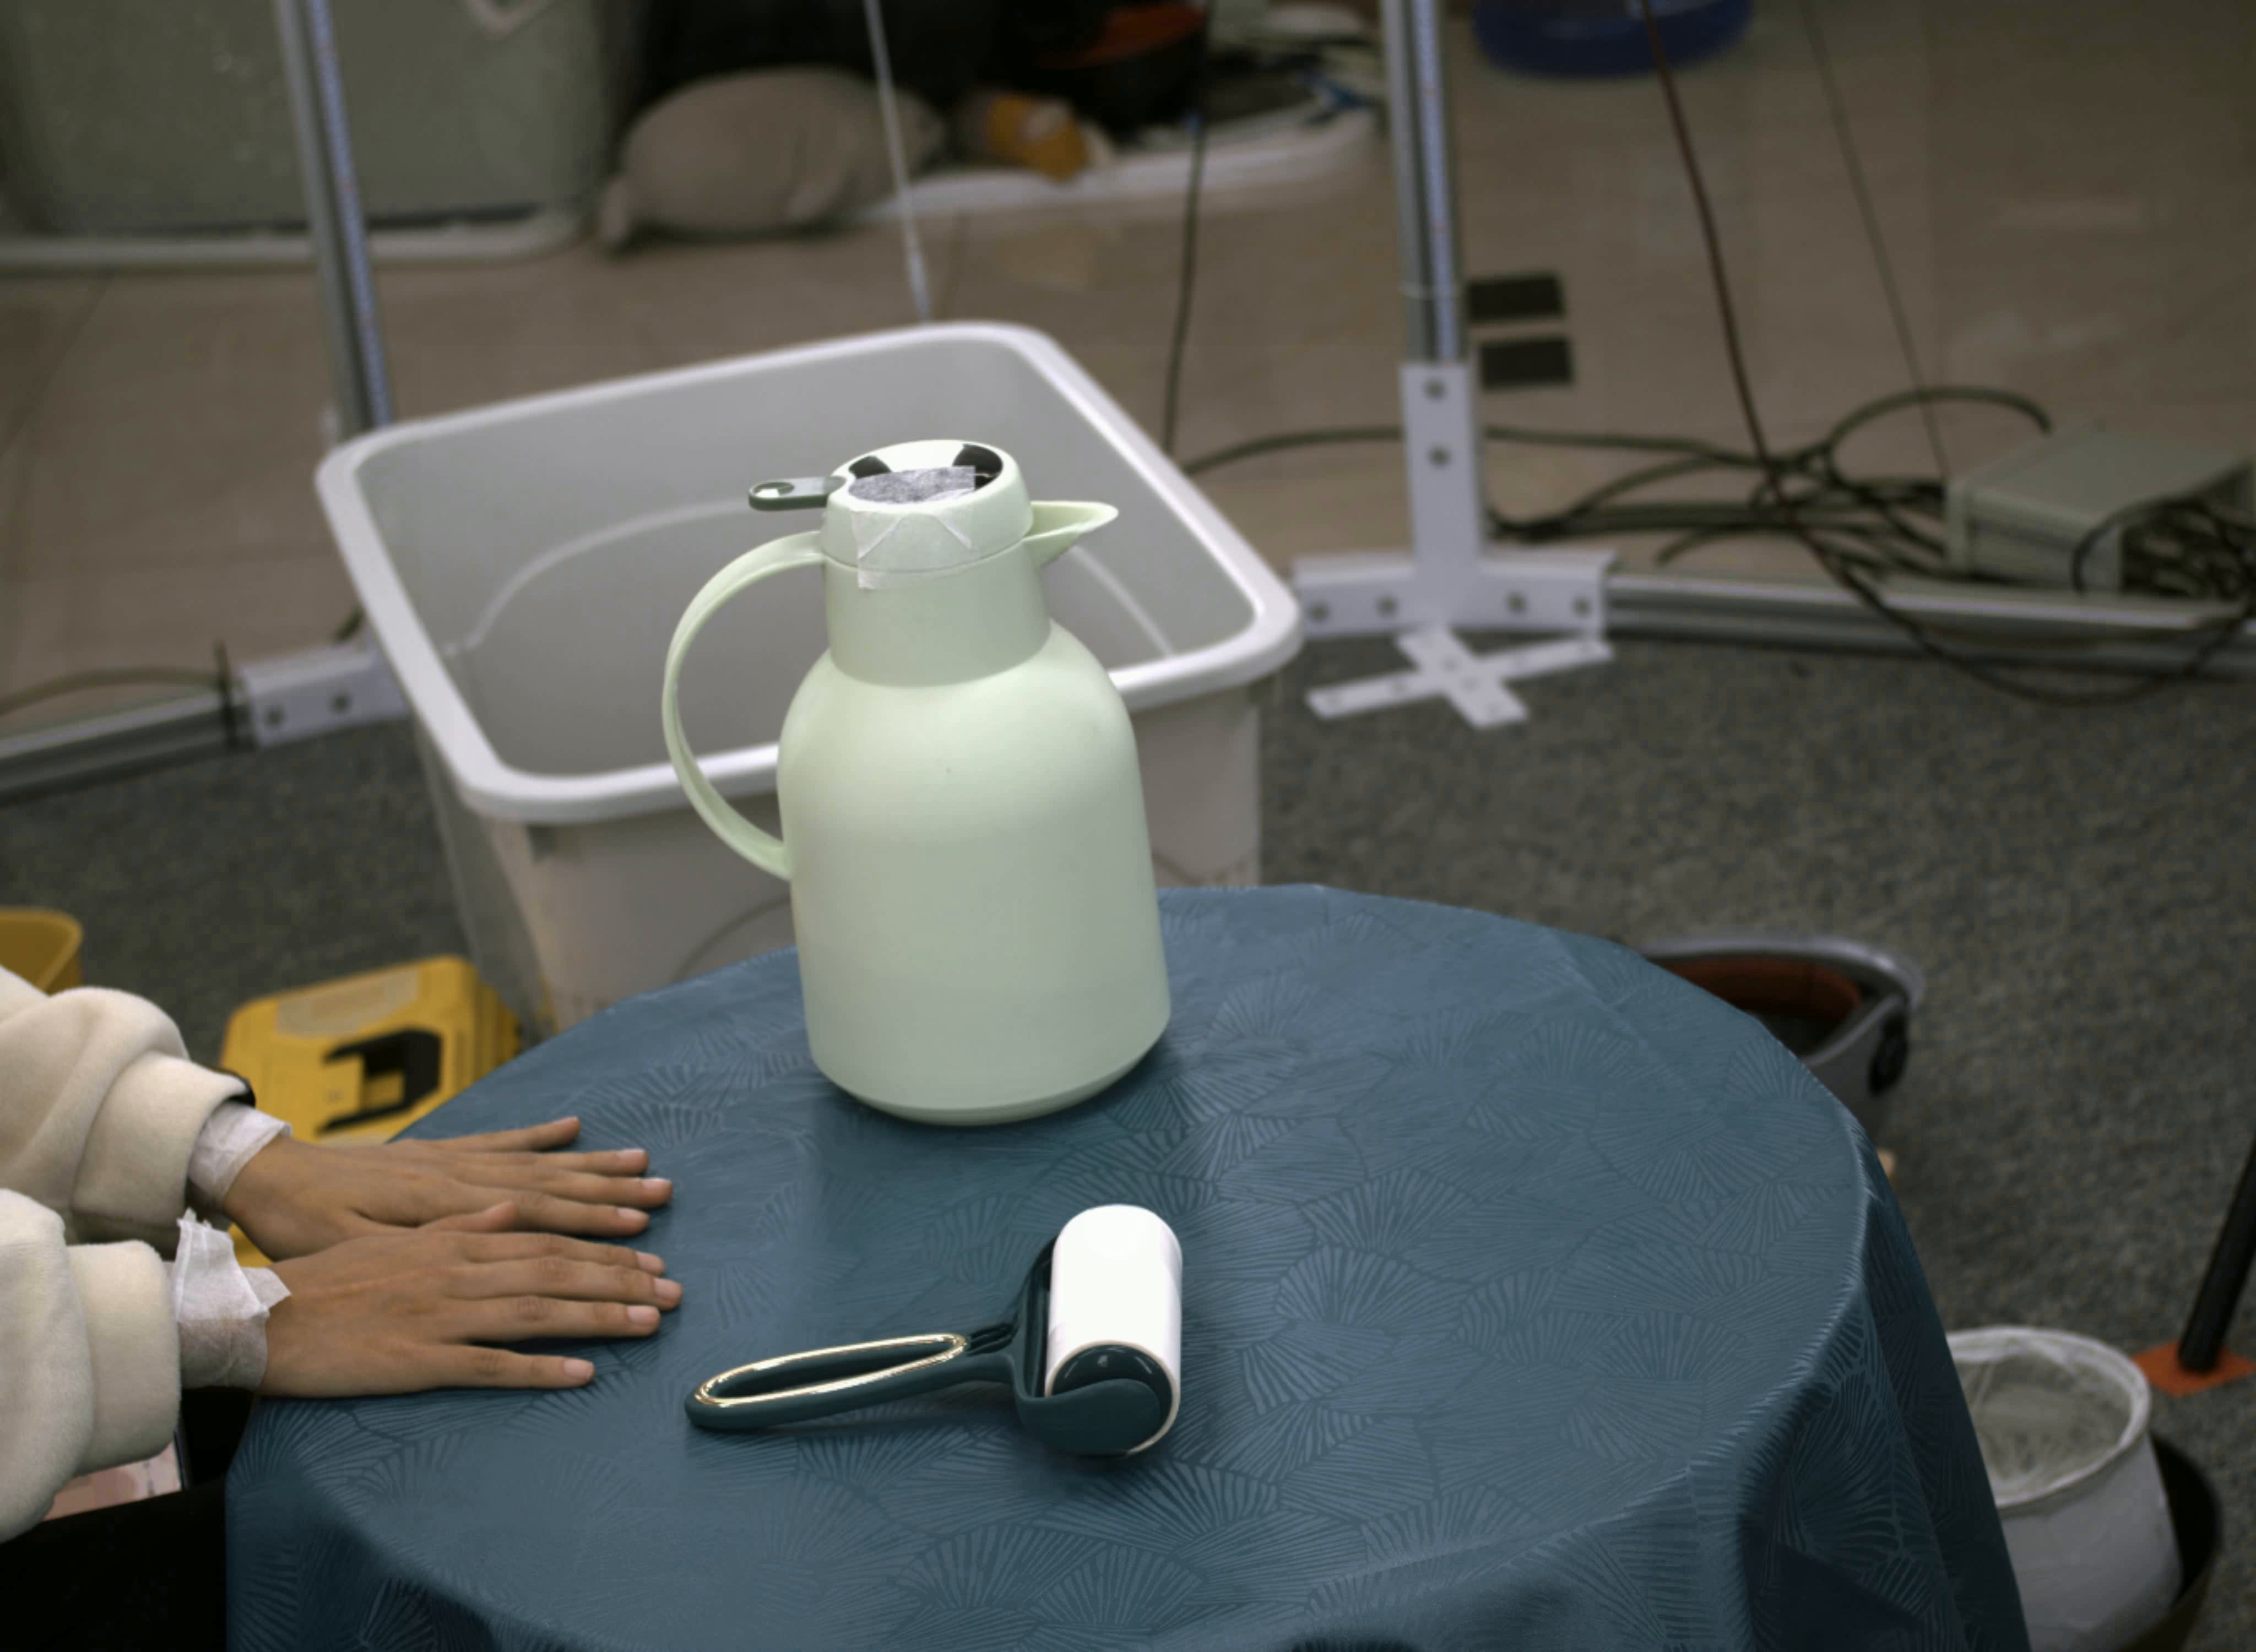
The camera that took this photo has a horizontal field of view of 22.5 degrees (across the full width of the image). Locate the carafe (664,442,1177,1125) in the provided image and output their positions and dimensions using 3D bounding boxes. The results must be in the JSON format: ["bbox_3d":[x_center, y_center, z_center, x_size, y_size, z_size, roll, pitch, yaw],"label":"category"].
[{"bbox_3d":[-0.080,-0.019,2.209,0.186,0.261,0.142,-9,28,3],"label":"carafe"}]

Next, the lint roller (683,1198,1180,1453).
[{"bbox_3d":[-0.072,0.183,2.014,0.180,0.049,0.132,-5,24,4],"label":"lint roller"}]
